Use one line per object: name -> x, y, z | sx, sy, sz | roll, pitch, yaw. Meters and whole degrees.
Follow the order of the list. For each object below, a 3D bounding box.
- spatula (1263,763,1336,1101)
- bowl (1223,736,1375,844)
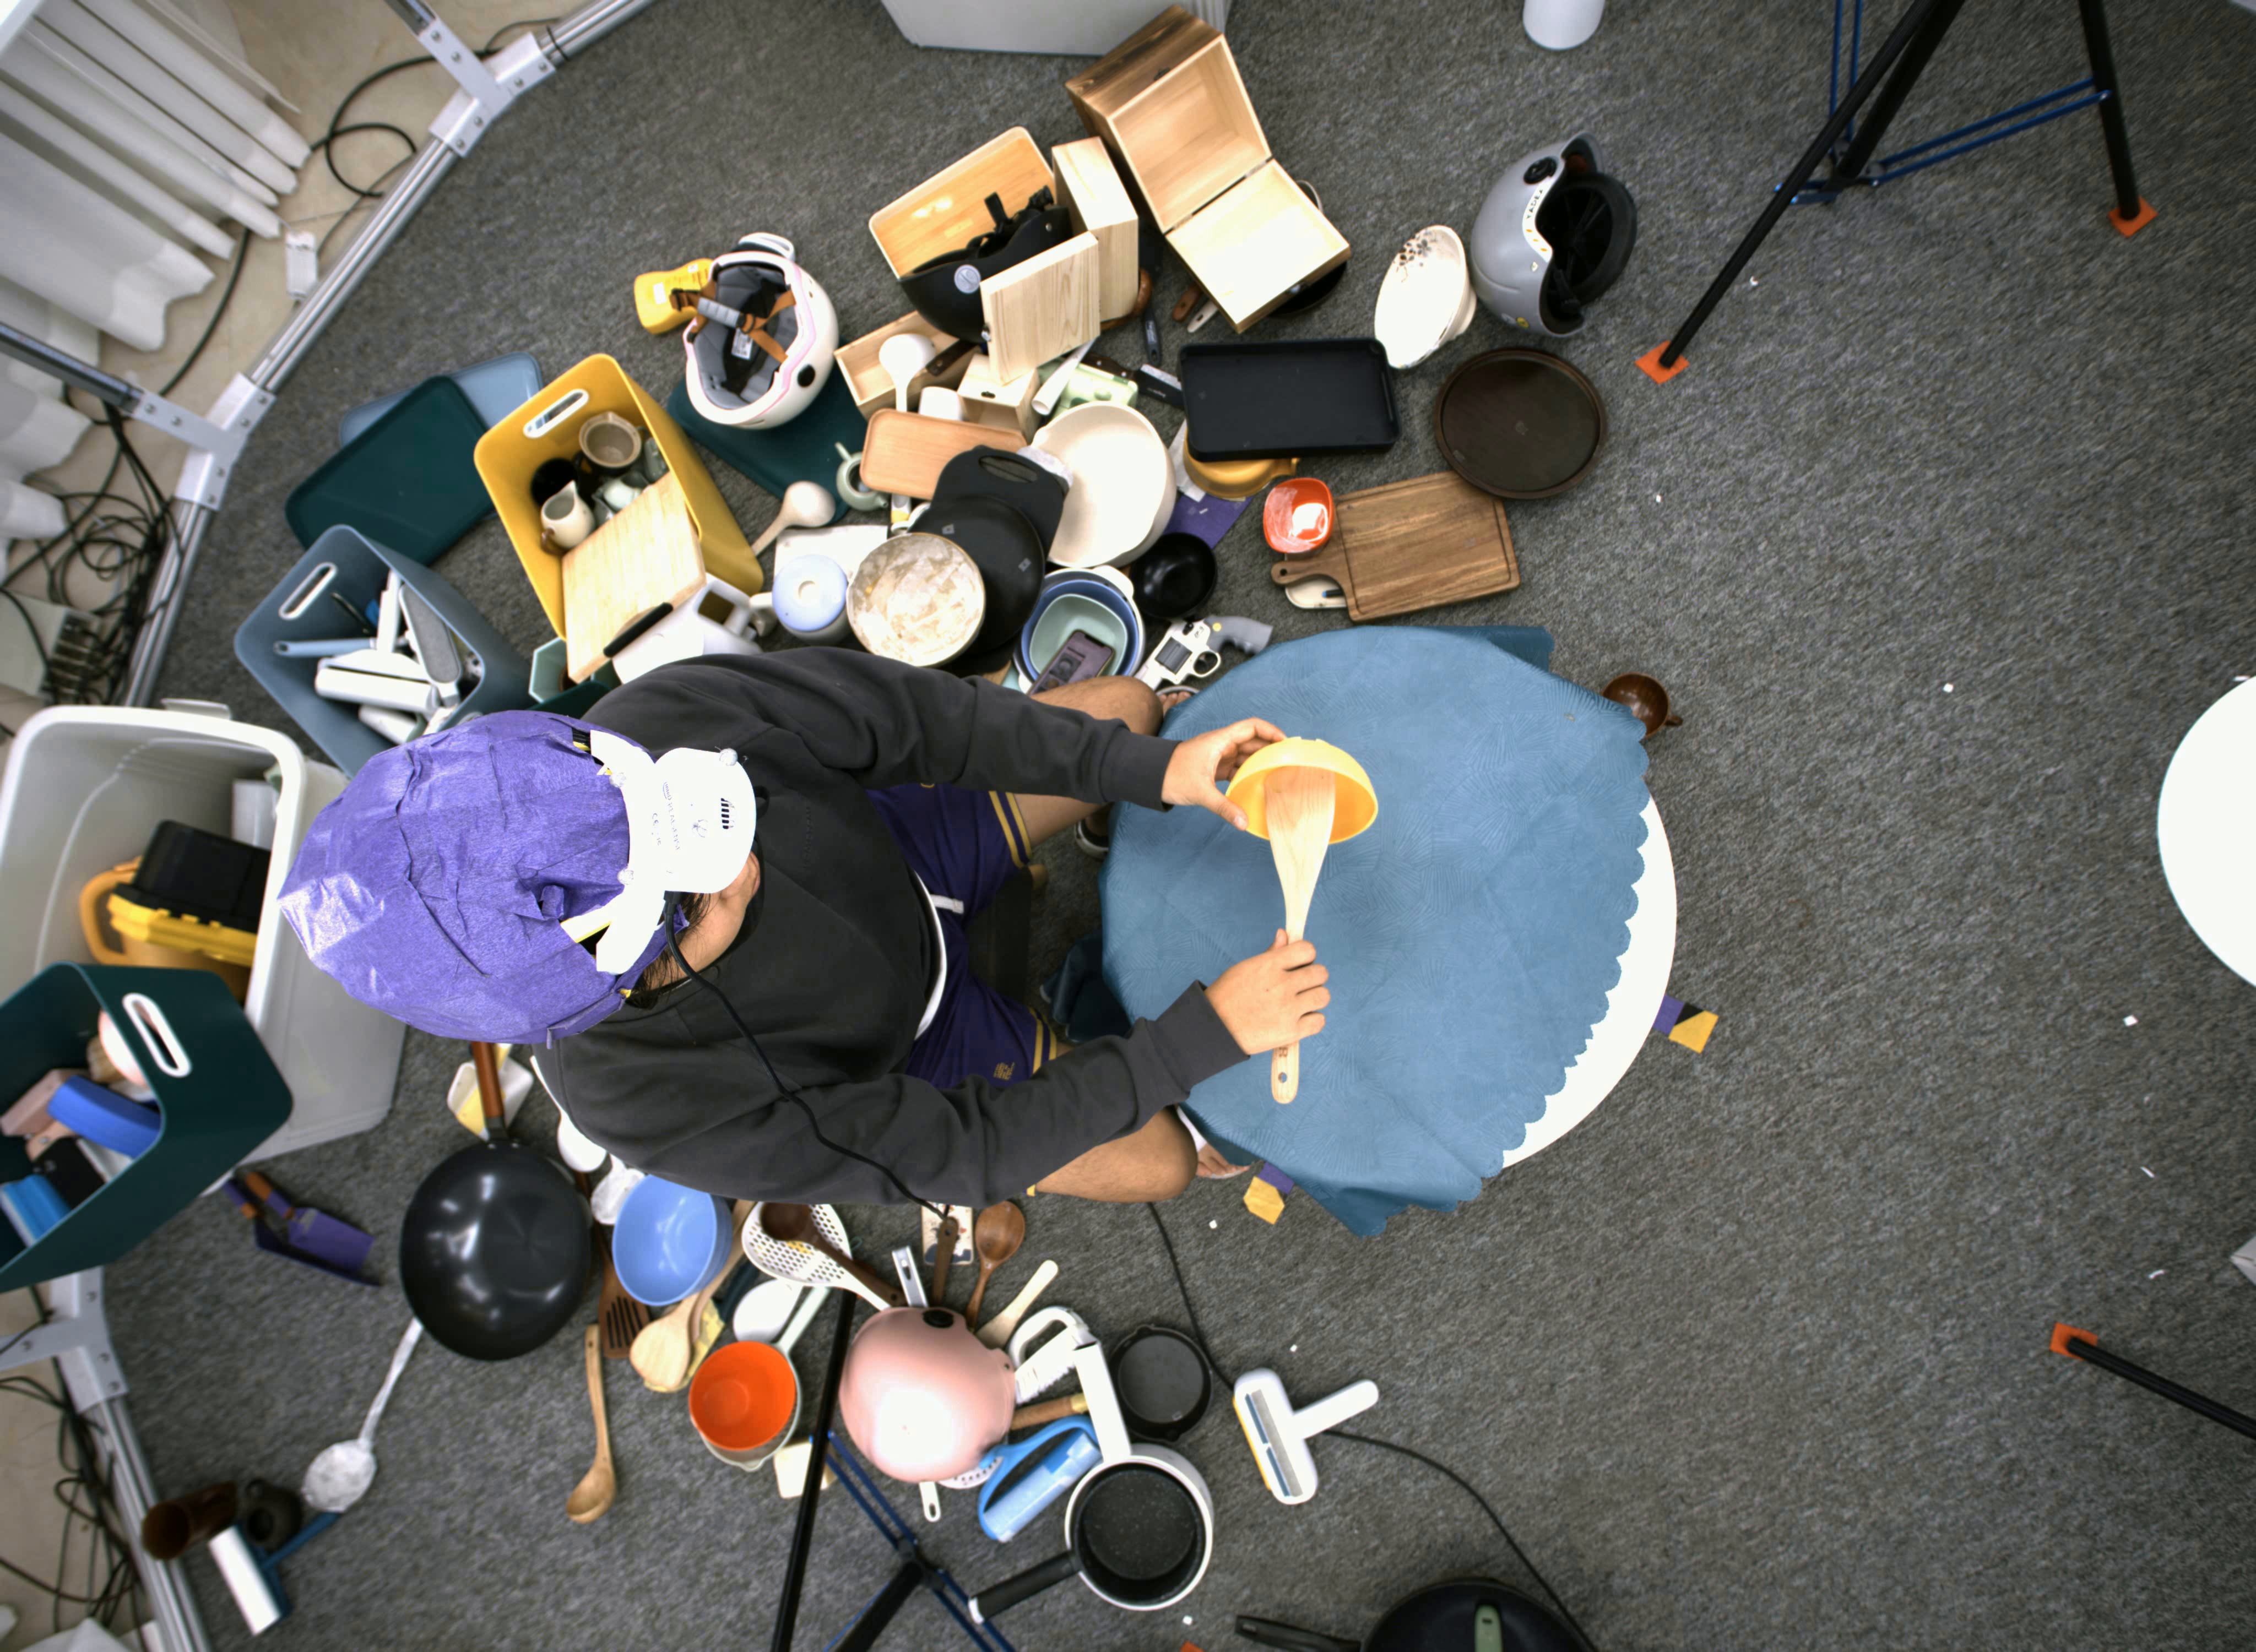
spatula -> 0.154, 0.091, 1.296 | 0.081, 0.016, 0.323 | -4, 75, 38
bowl -> 0.166, -0.045, 1.320 | 0.146, 0.148, 0.058 | 6, 60, 10
